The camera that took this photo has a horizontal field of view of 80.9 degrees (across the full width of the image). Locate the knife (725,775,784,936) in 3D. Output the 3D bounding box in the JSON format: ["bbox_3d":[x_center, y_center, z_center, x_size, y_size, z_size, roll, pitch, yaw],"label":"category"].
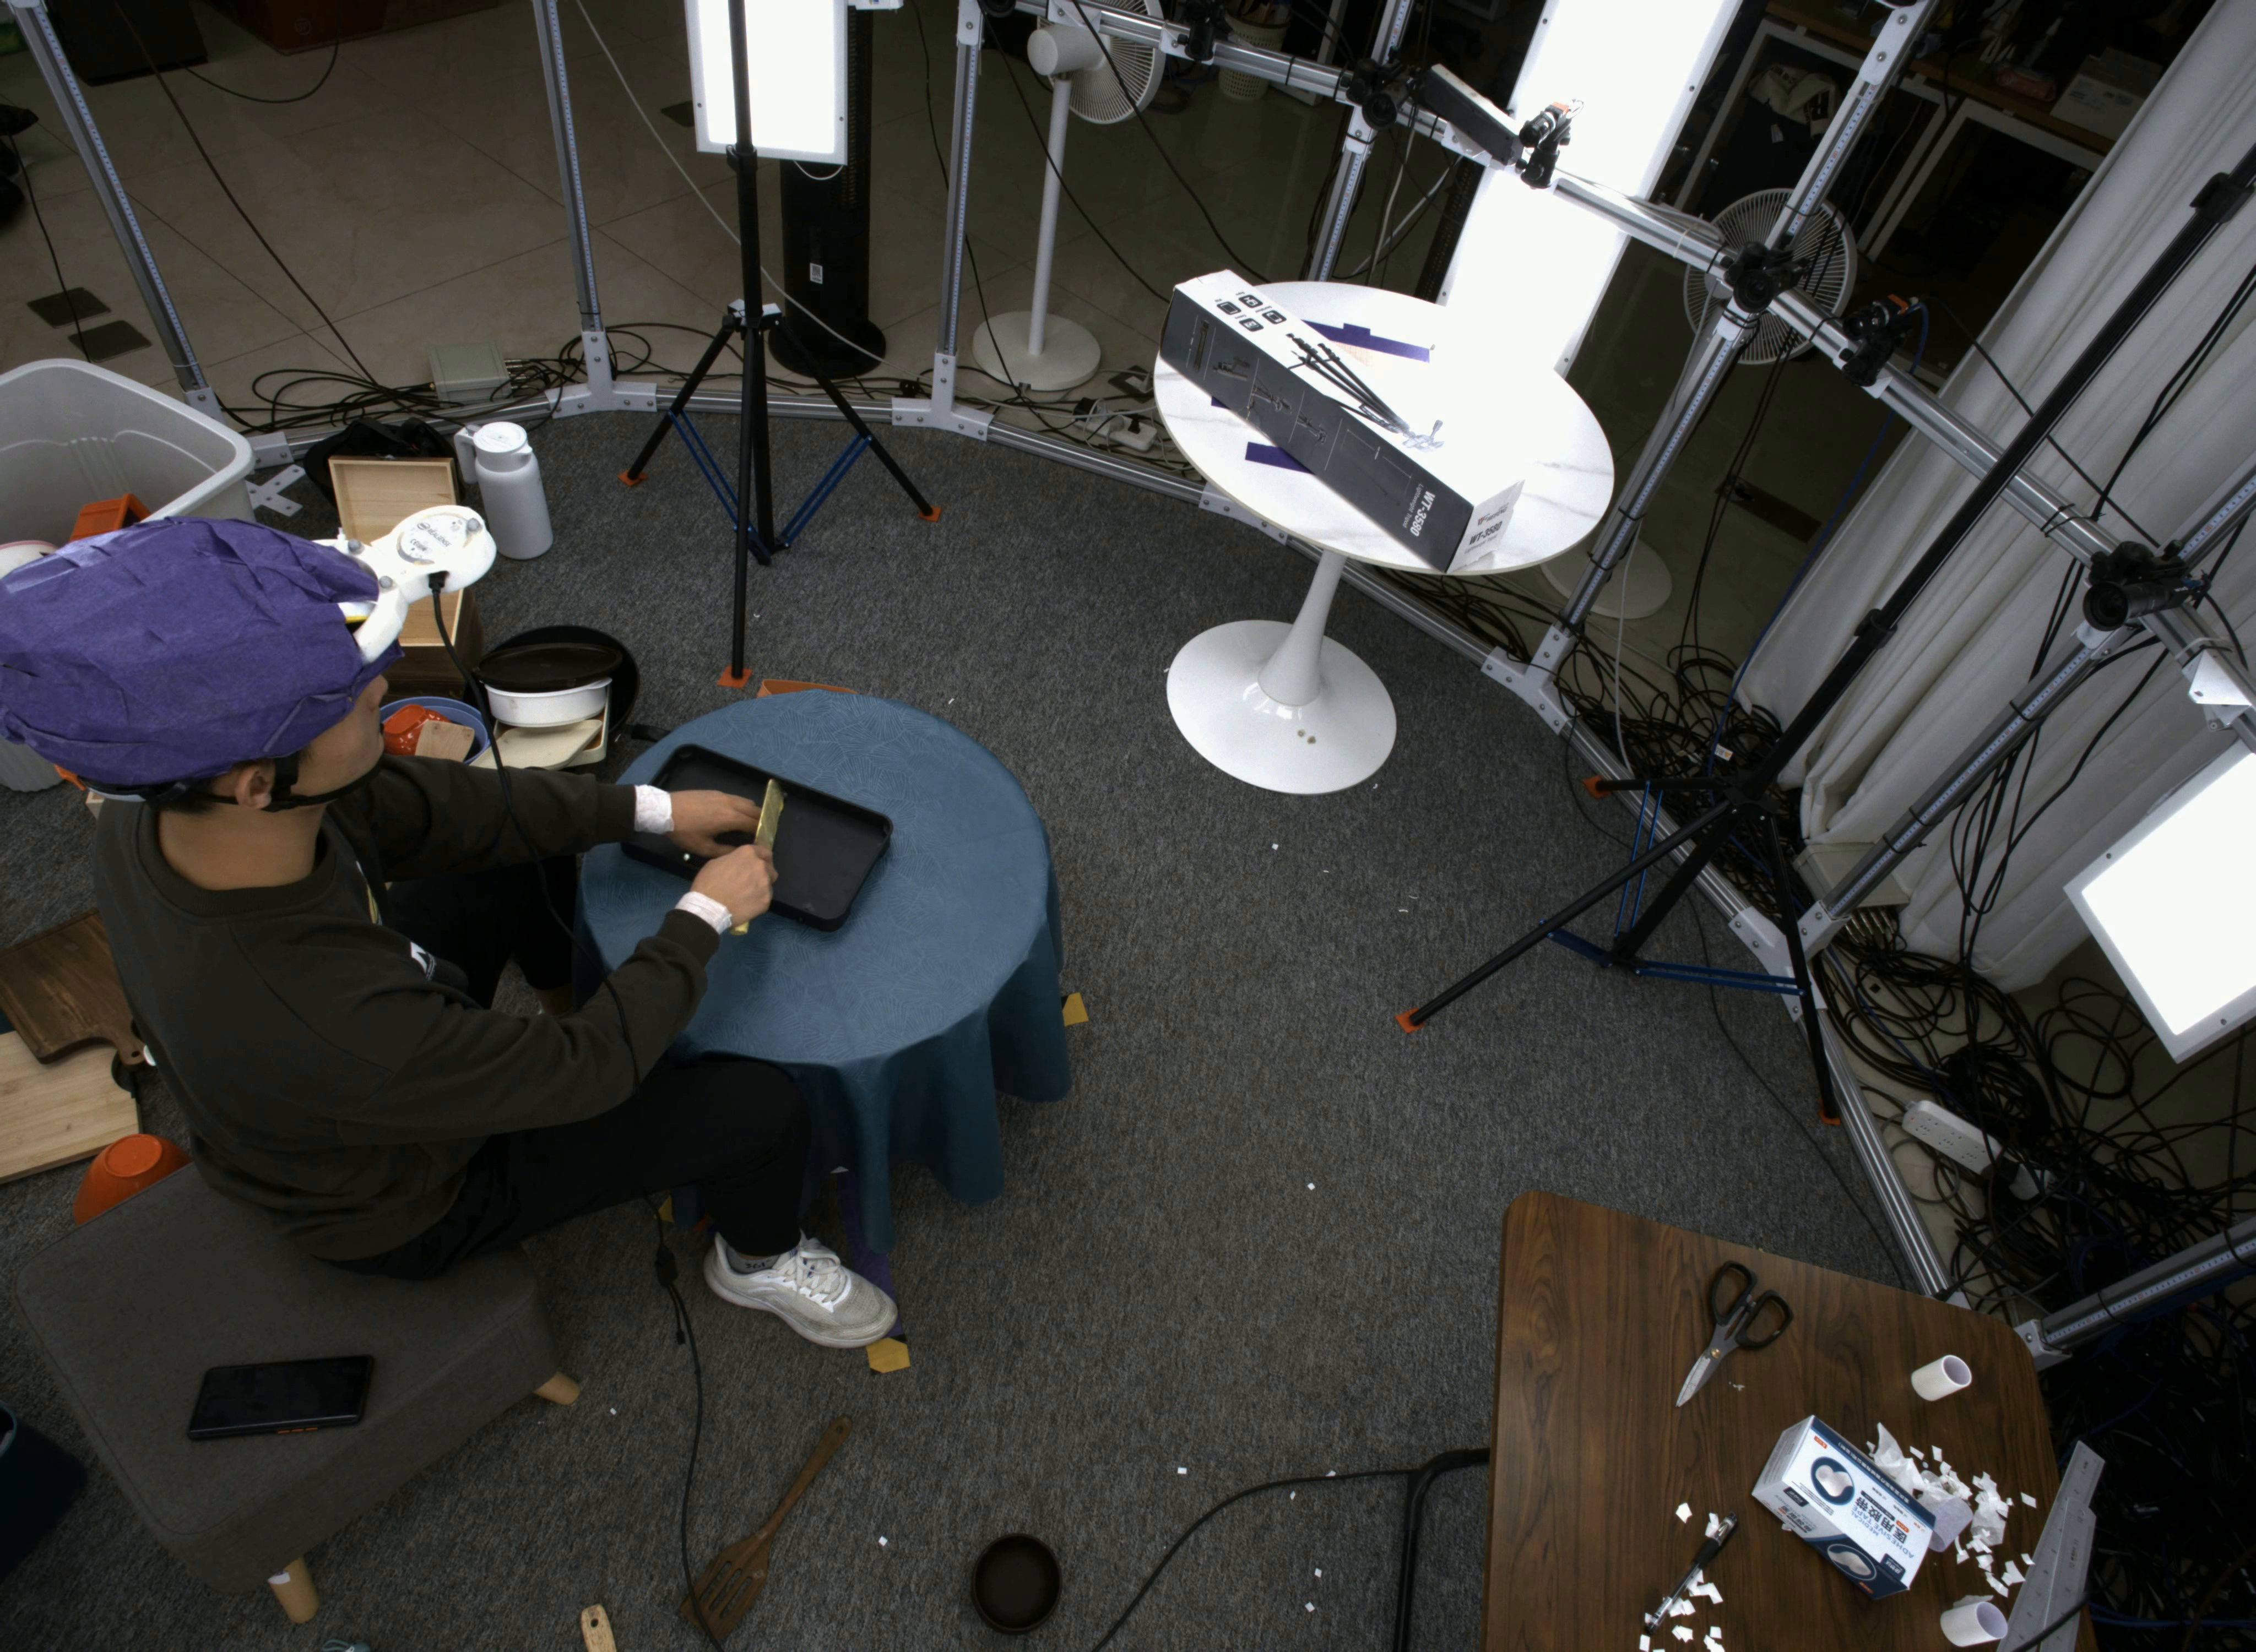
[{"bbox_3d":[-0.463,0.036,1.629,0.027,0.084,0.283,-1,42,1],"label":"knife"}]

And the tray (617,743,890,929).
[{"bbox_3d":[-0.487,0.009,1.689,0.315,0.038,0.182,19,53,0],"label":"tray"}]
